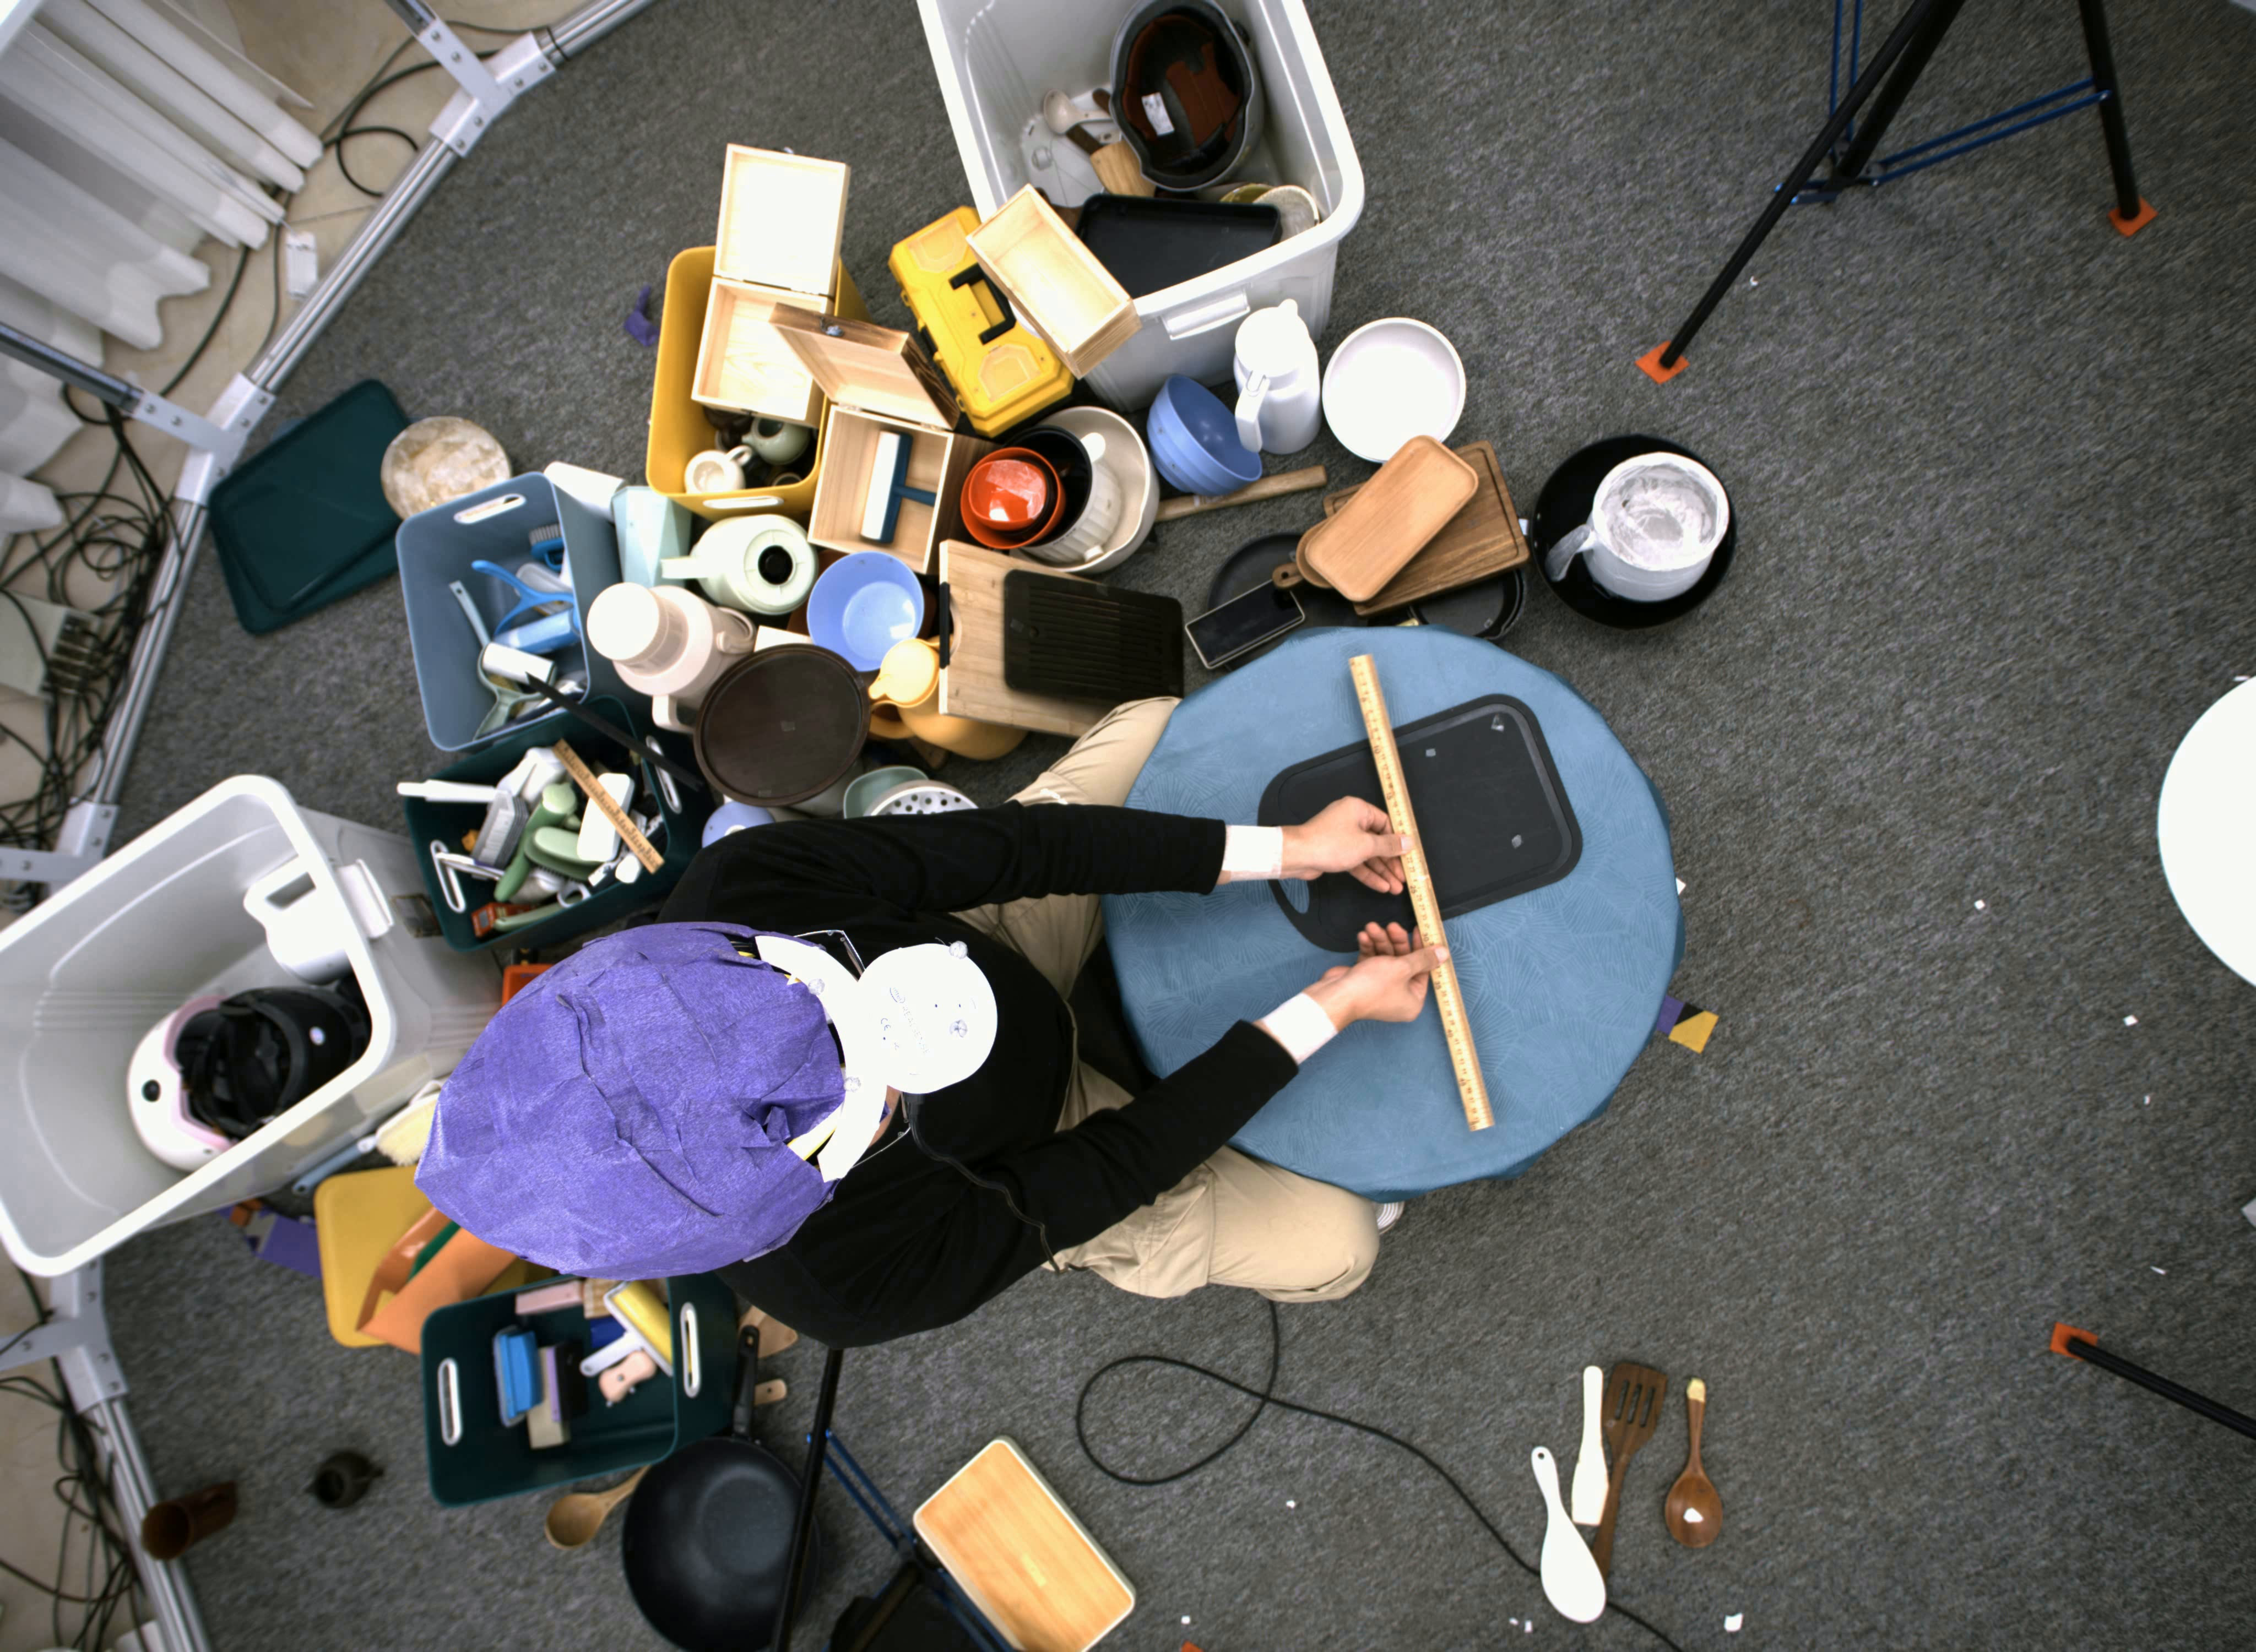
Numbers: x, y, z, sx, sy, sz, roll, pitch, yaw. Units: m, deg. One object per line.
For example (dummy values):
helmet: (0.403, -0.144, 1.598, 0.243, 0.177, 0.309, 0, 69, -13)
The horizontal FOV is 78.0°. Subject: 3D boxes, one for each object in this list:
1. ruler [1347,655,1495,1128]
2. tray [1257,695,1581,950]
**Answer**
ruler: (0.300, 0.062, 1.420, 0.027, 0.006, 0.498, -13, 85, -6)
tray: (0.299, -0.001, 1.455, 0.327, 0.010, 0.210, -19, 83, 9)
